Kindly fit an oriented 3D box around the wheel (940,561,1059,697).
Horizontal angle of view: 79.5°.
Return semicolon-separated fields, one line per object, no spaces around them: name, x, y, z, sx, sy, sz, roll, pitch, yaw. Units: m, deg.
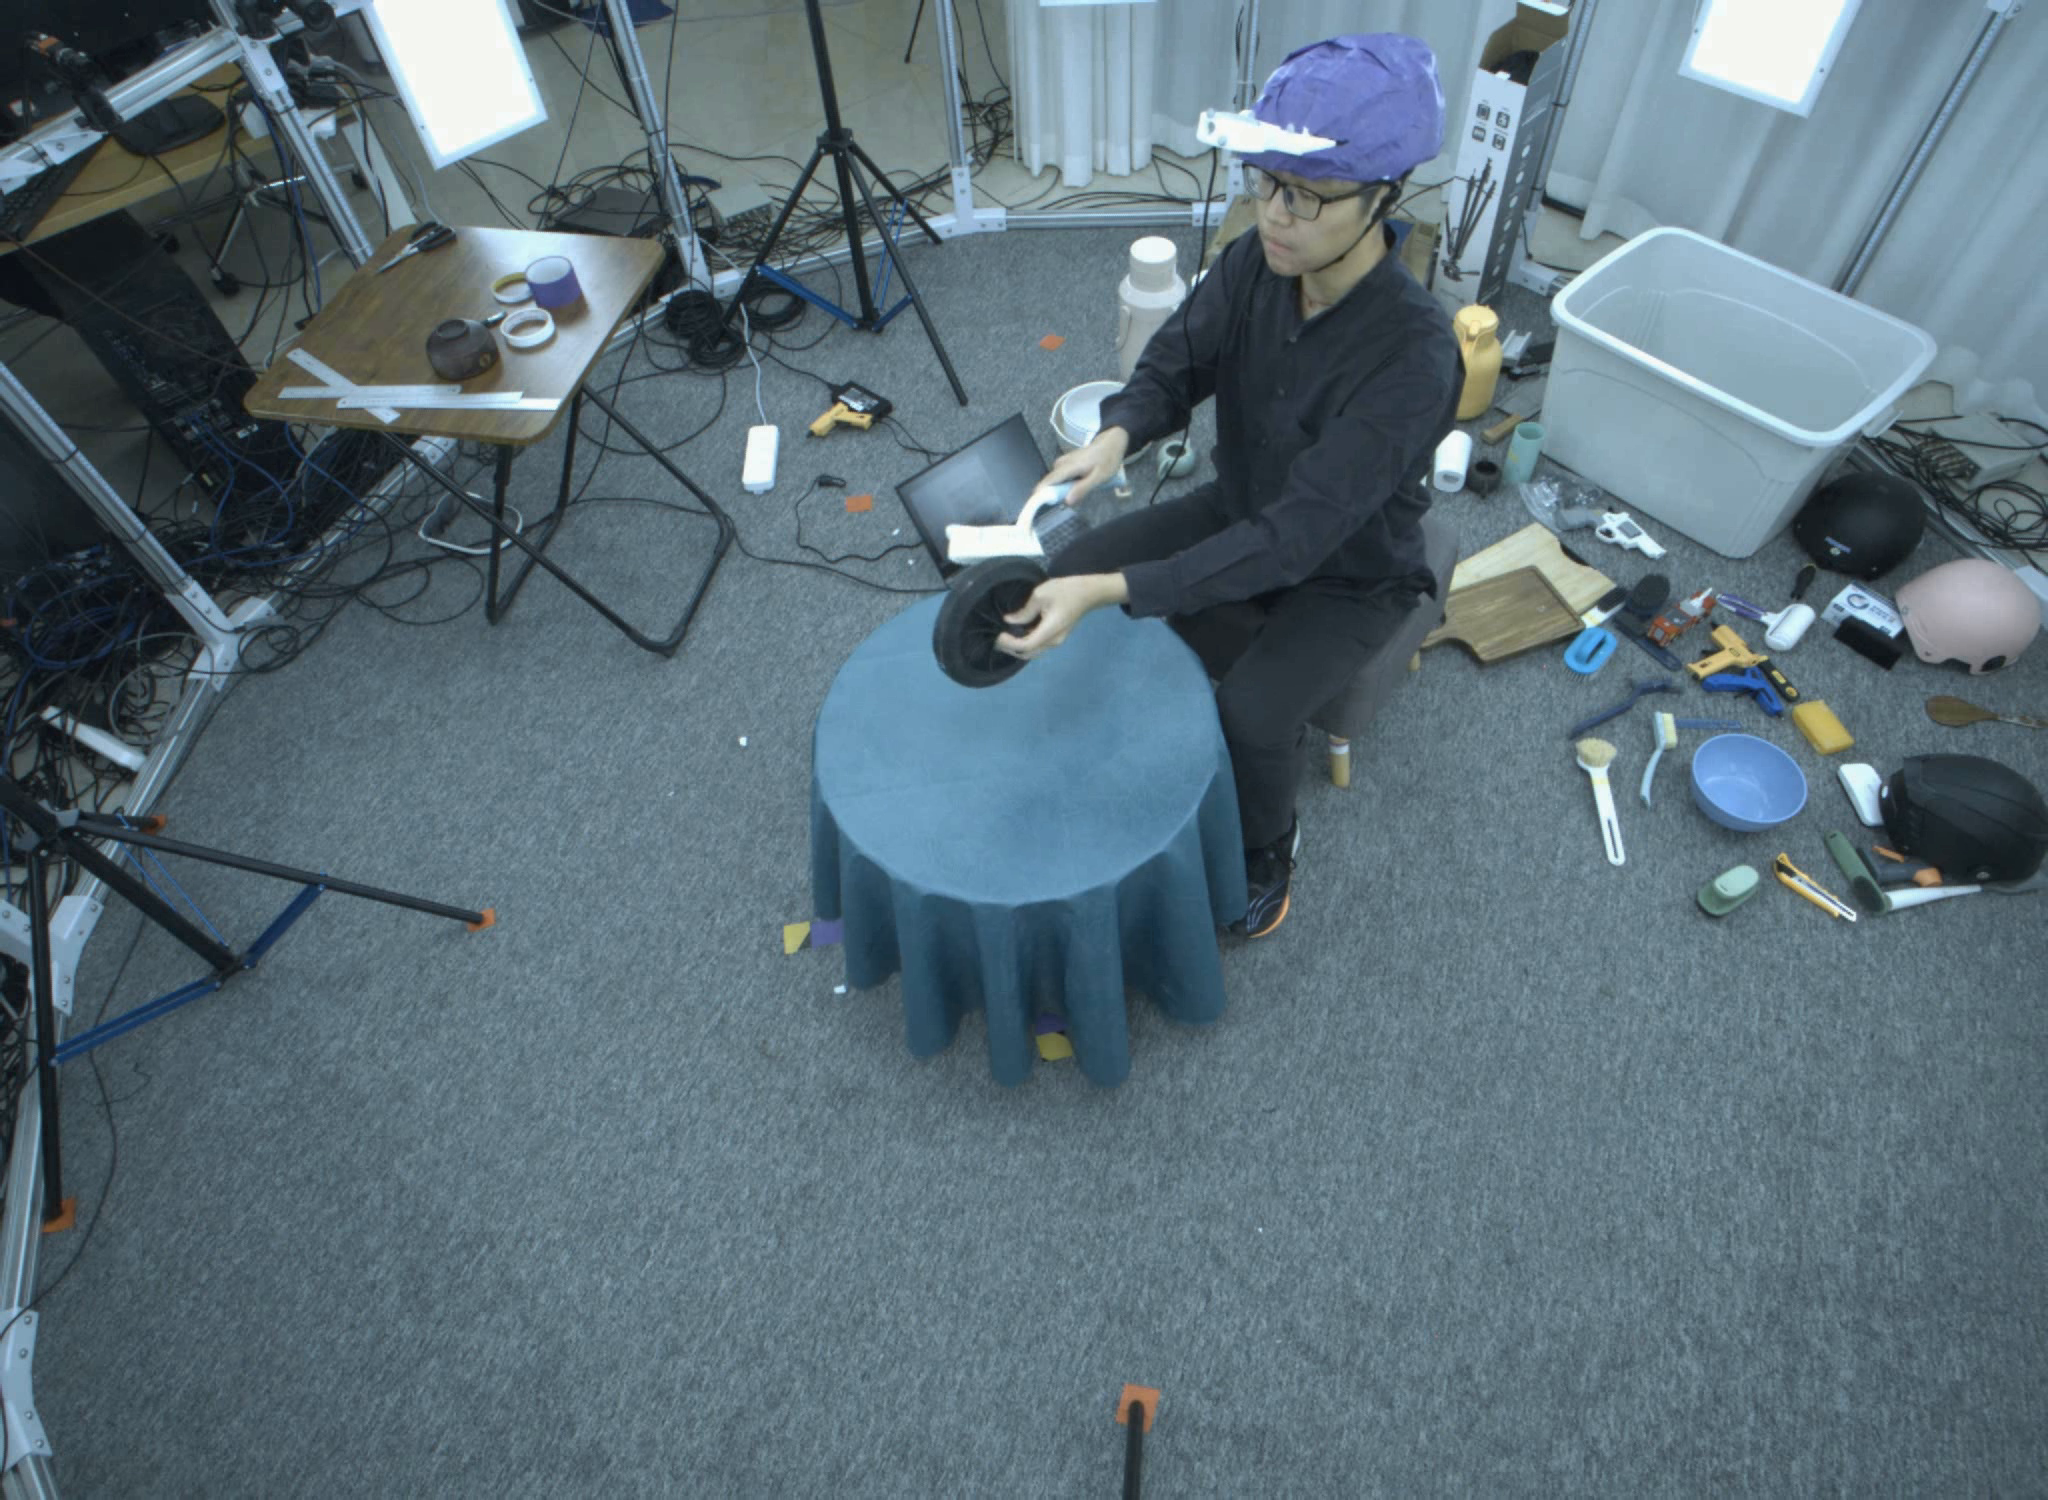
wheel;-0.016;-0.147;1.603;0.077;0.192;0.189;38;97;37

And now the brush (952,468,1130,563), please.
brush;0.040;-0.301;1.642;0.330;0.085;0.081;-26;46;-37
